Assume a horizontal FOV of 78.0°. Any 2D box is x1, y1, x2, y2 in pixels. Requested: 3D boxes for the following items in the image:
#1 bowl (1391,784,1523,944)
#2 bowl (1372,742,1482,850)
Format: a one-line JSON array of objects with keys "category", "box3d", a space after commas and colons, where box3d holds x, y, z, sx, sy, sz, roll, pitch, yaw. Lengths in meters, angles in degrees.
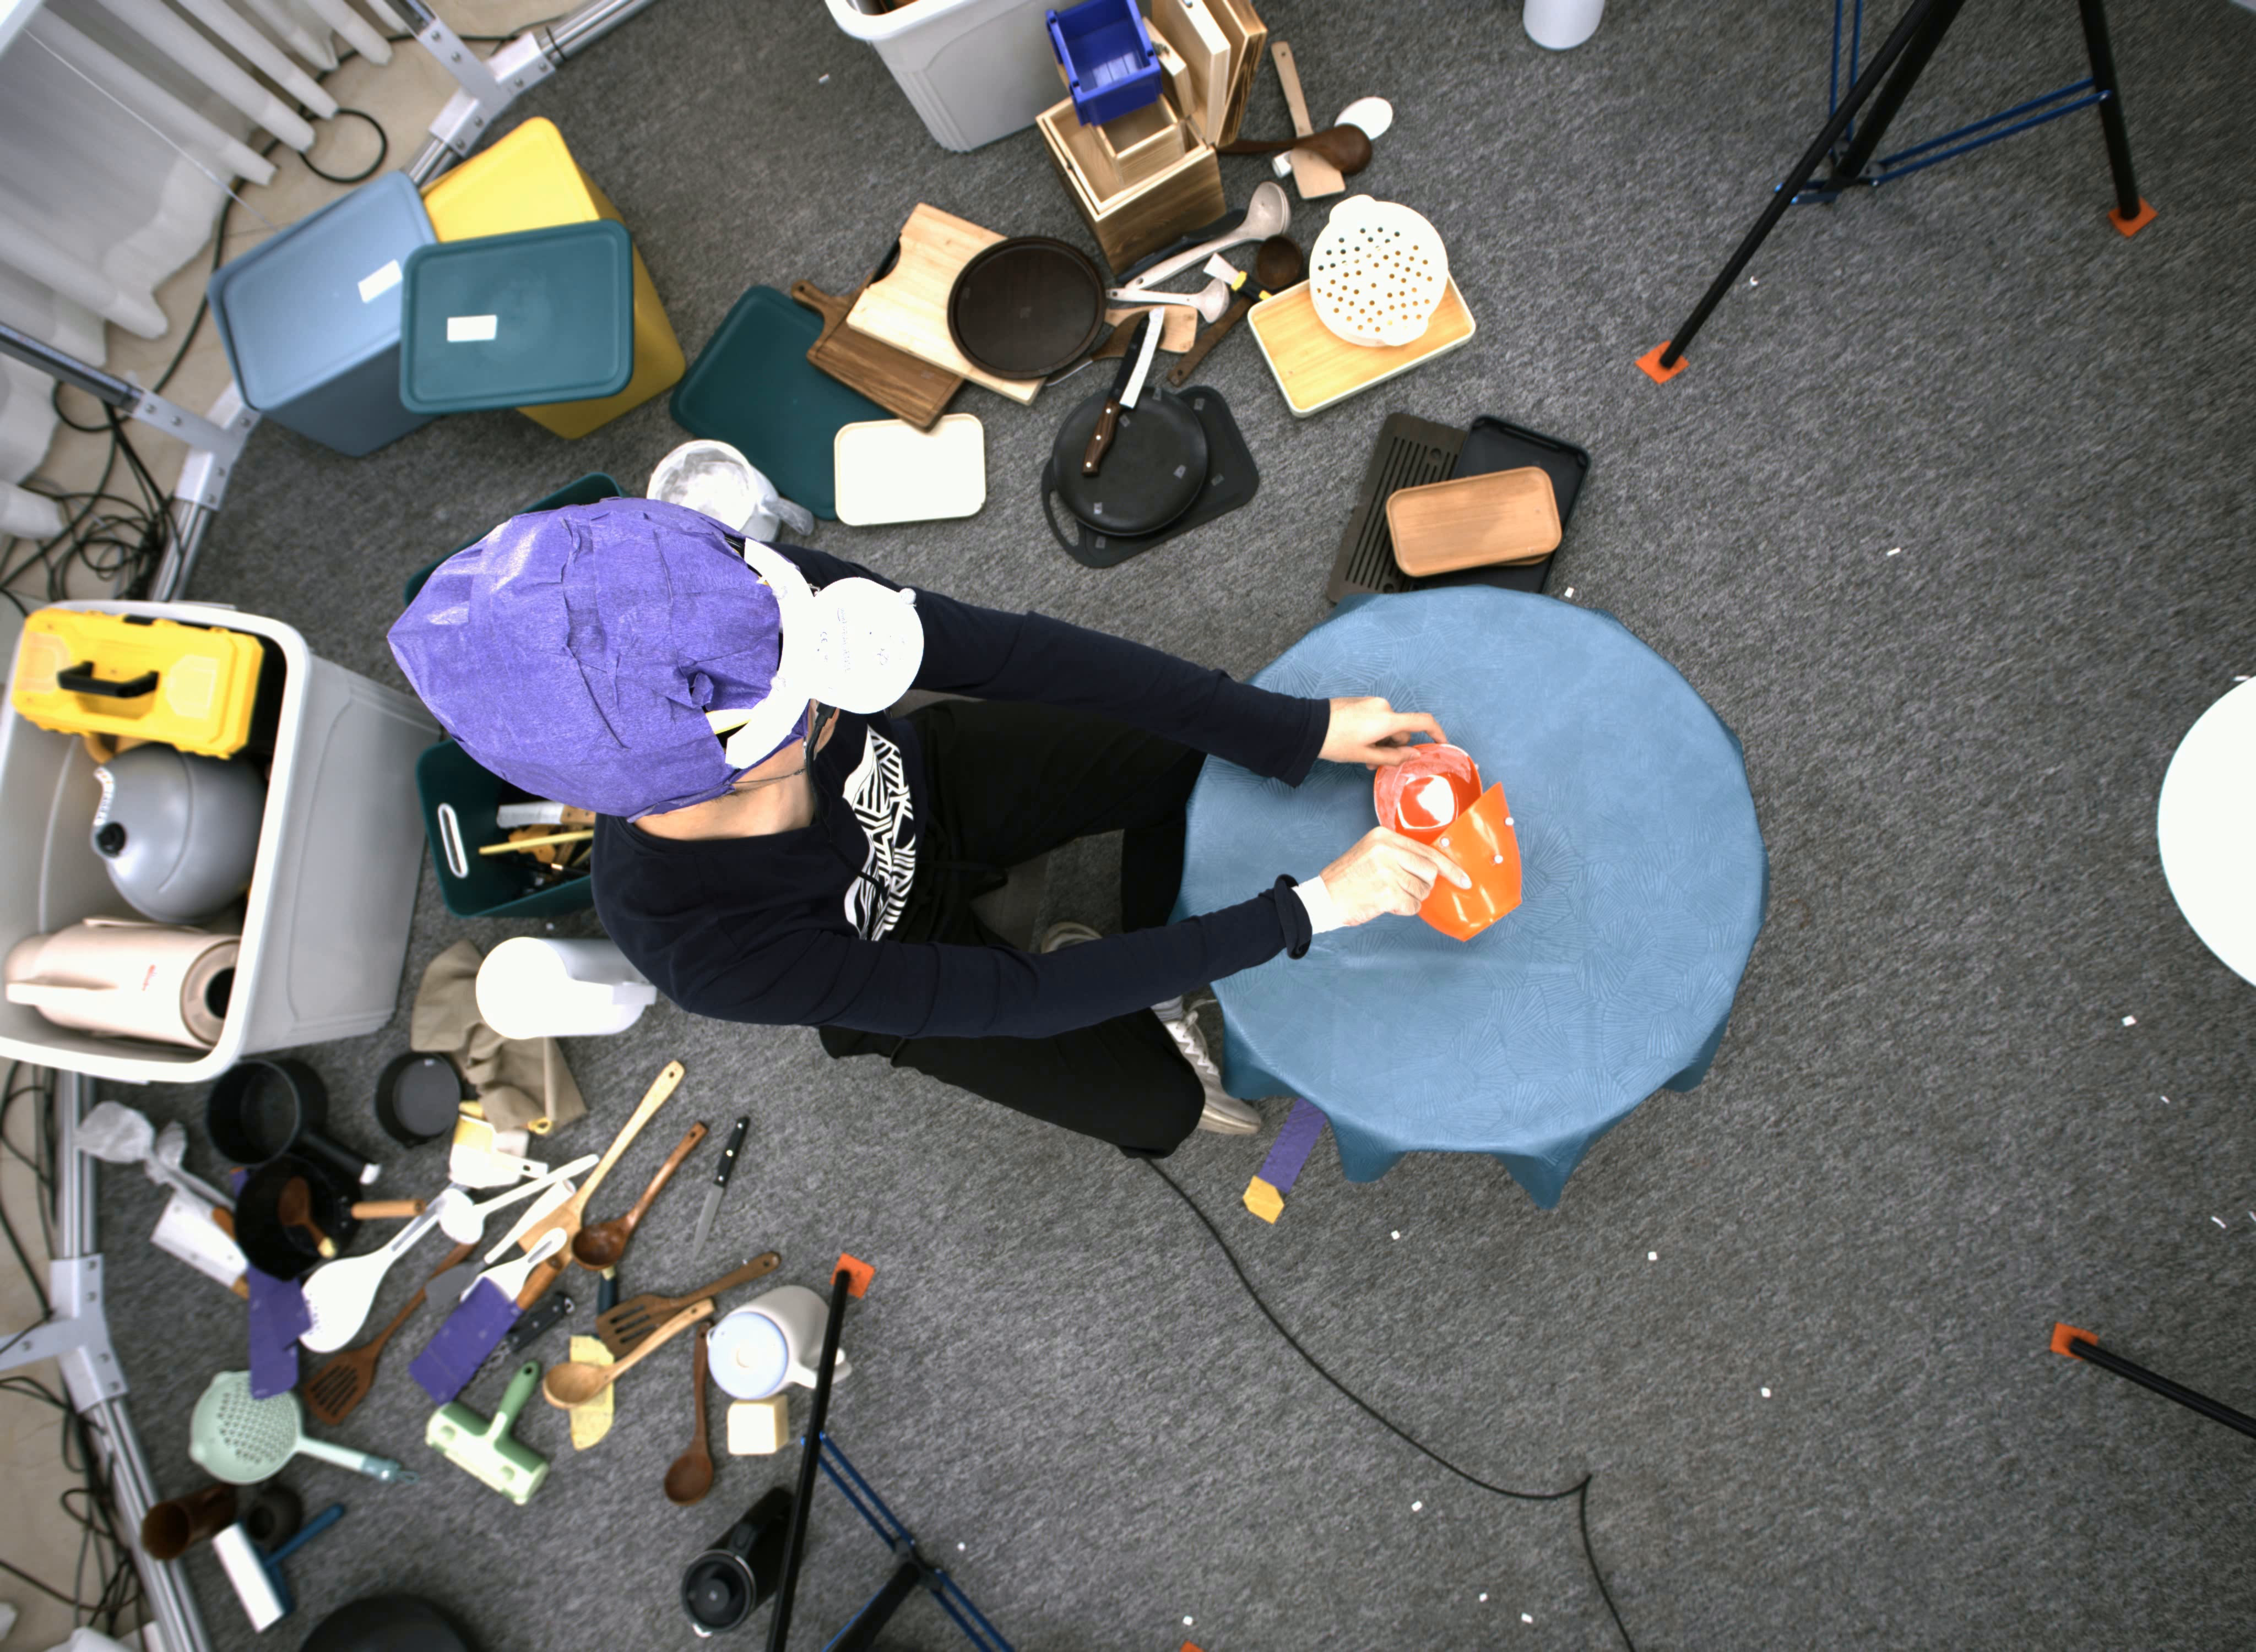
[{"category": "bowl", "box3d": [0.329, 0.044, 1.314, 0.149, 0.148, 0.104, -36, 81, 5]}, {"category": "bowl", "box3d": [0.311, -0.030, 1.434, 0.119, 0.051, 0.118, -1, 88, 12]}]
